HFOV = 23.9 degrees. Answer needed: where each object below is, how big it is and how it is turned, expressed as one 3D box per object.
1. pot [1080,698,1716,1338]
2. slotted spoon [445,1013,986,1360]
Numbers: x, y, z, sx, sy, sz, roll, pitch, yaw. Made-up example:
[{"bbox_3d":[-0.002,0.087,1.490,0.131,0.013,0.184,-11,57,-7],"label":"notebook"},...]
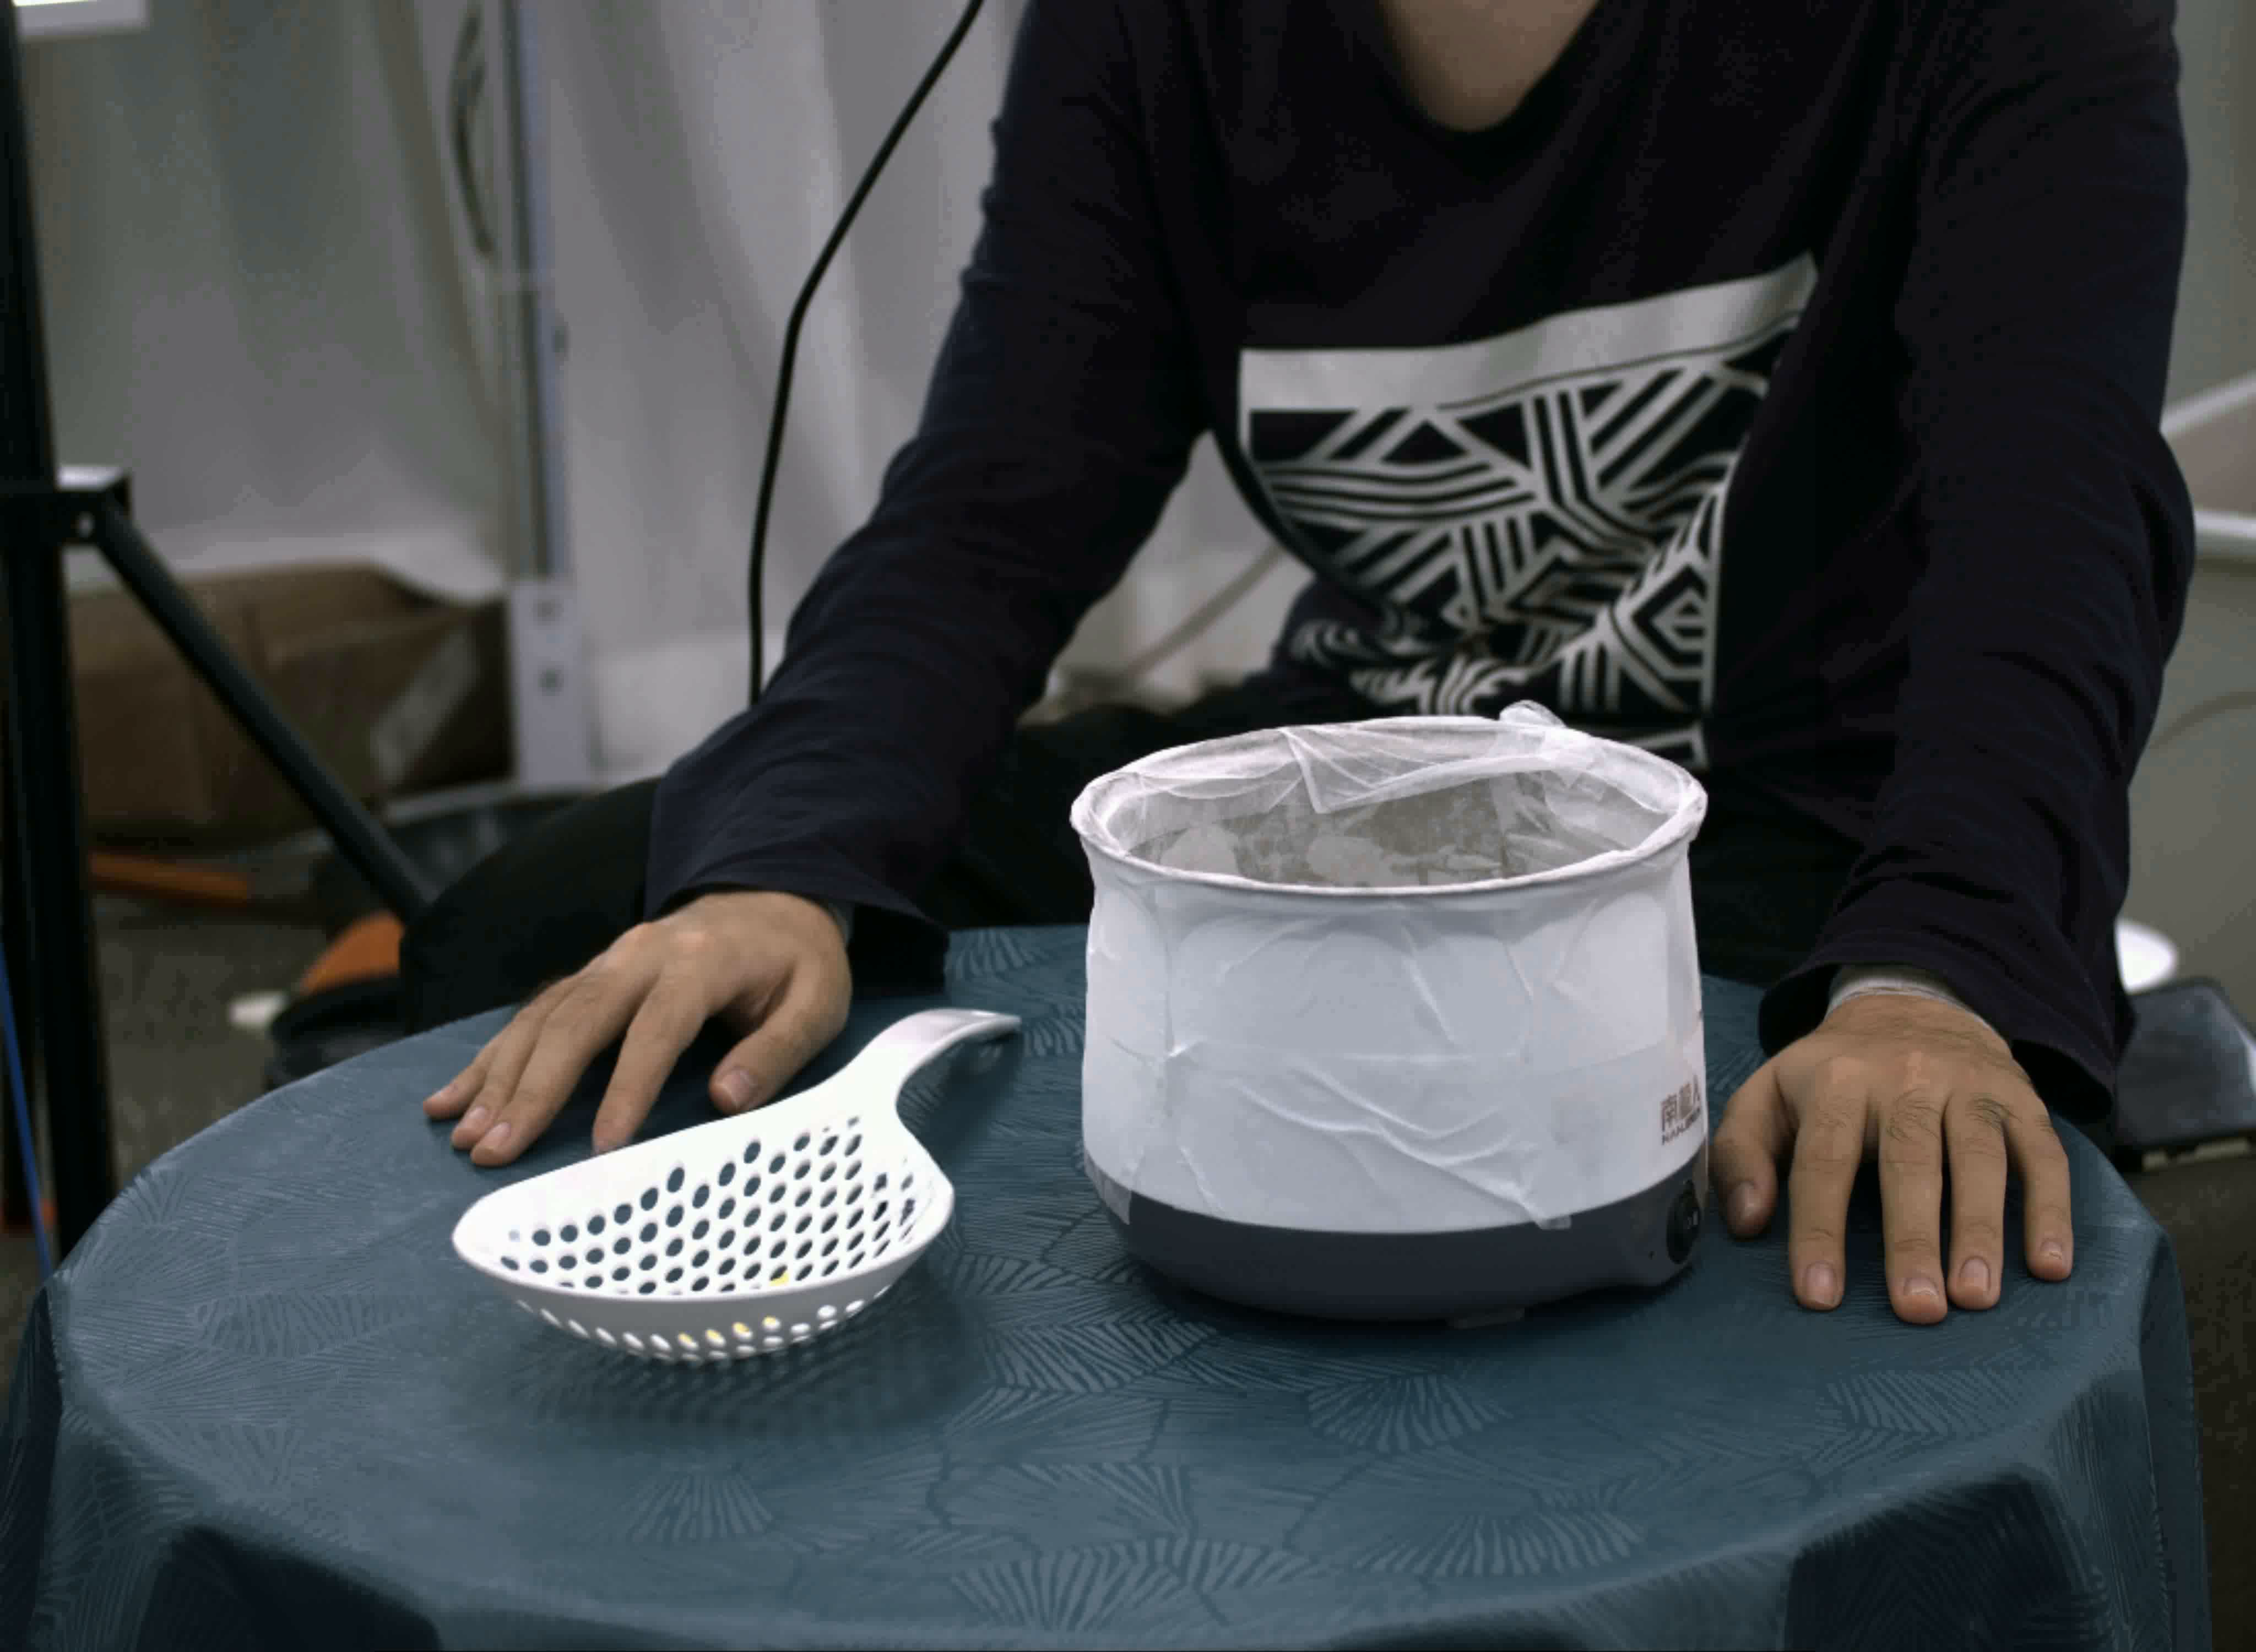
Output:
[{"bbox_3d":[0.086,0.047,1.514,0.181,0.136,0.230,8,18,25],"label":"pot"},{"bbox_3d":[-0.087,0.091,1.553,0.138,0.050,0.345,1,17,15],"label":"slotted spoon"}]
